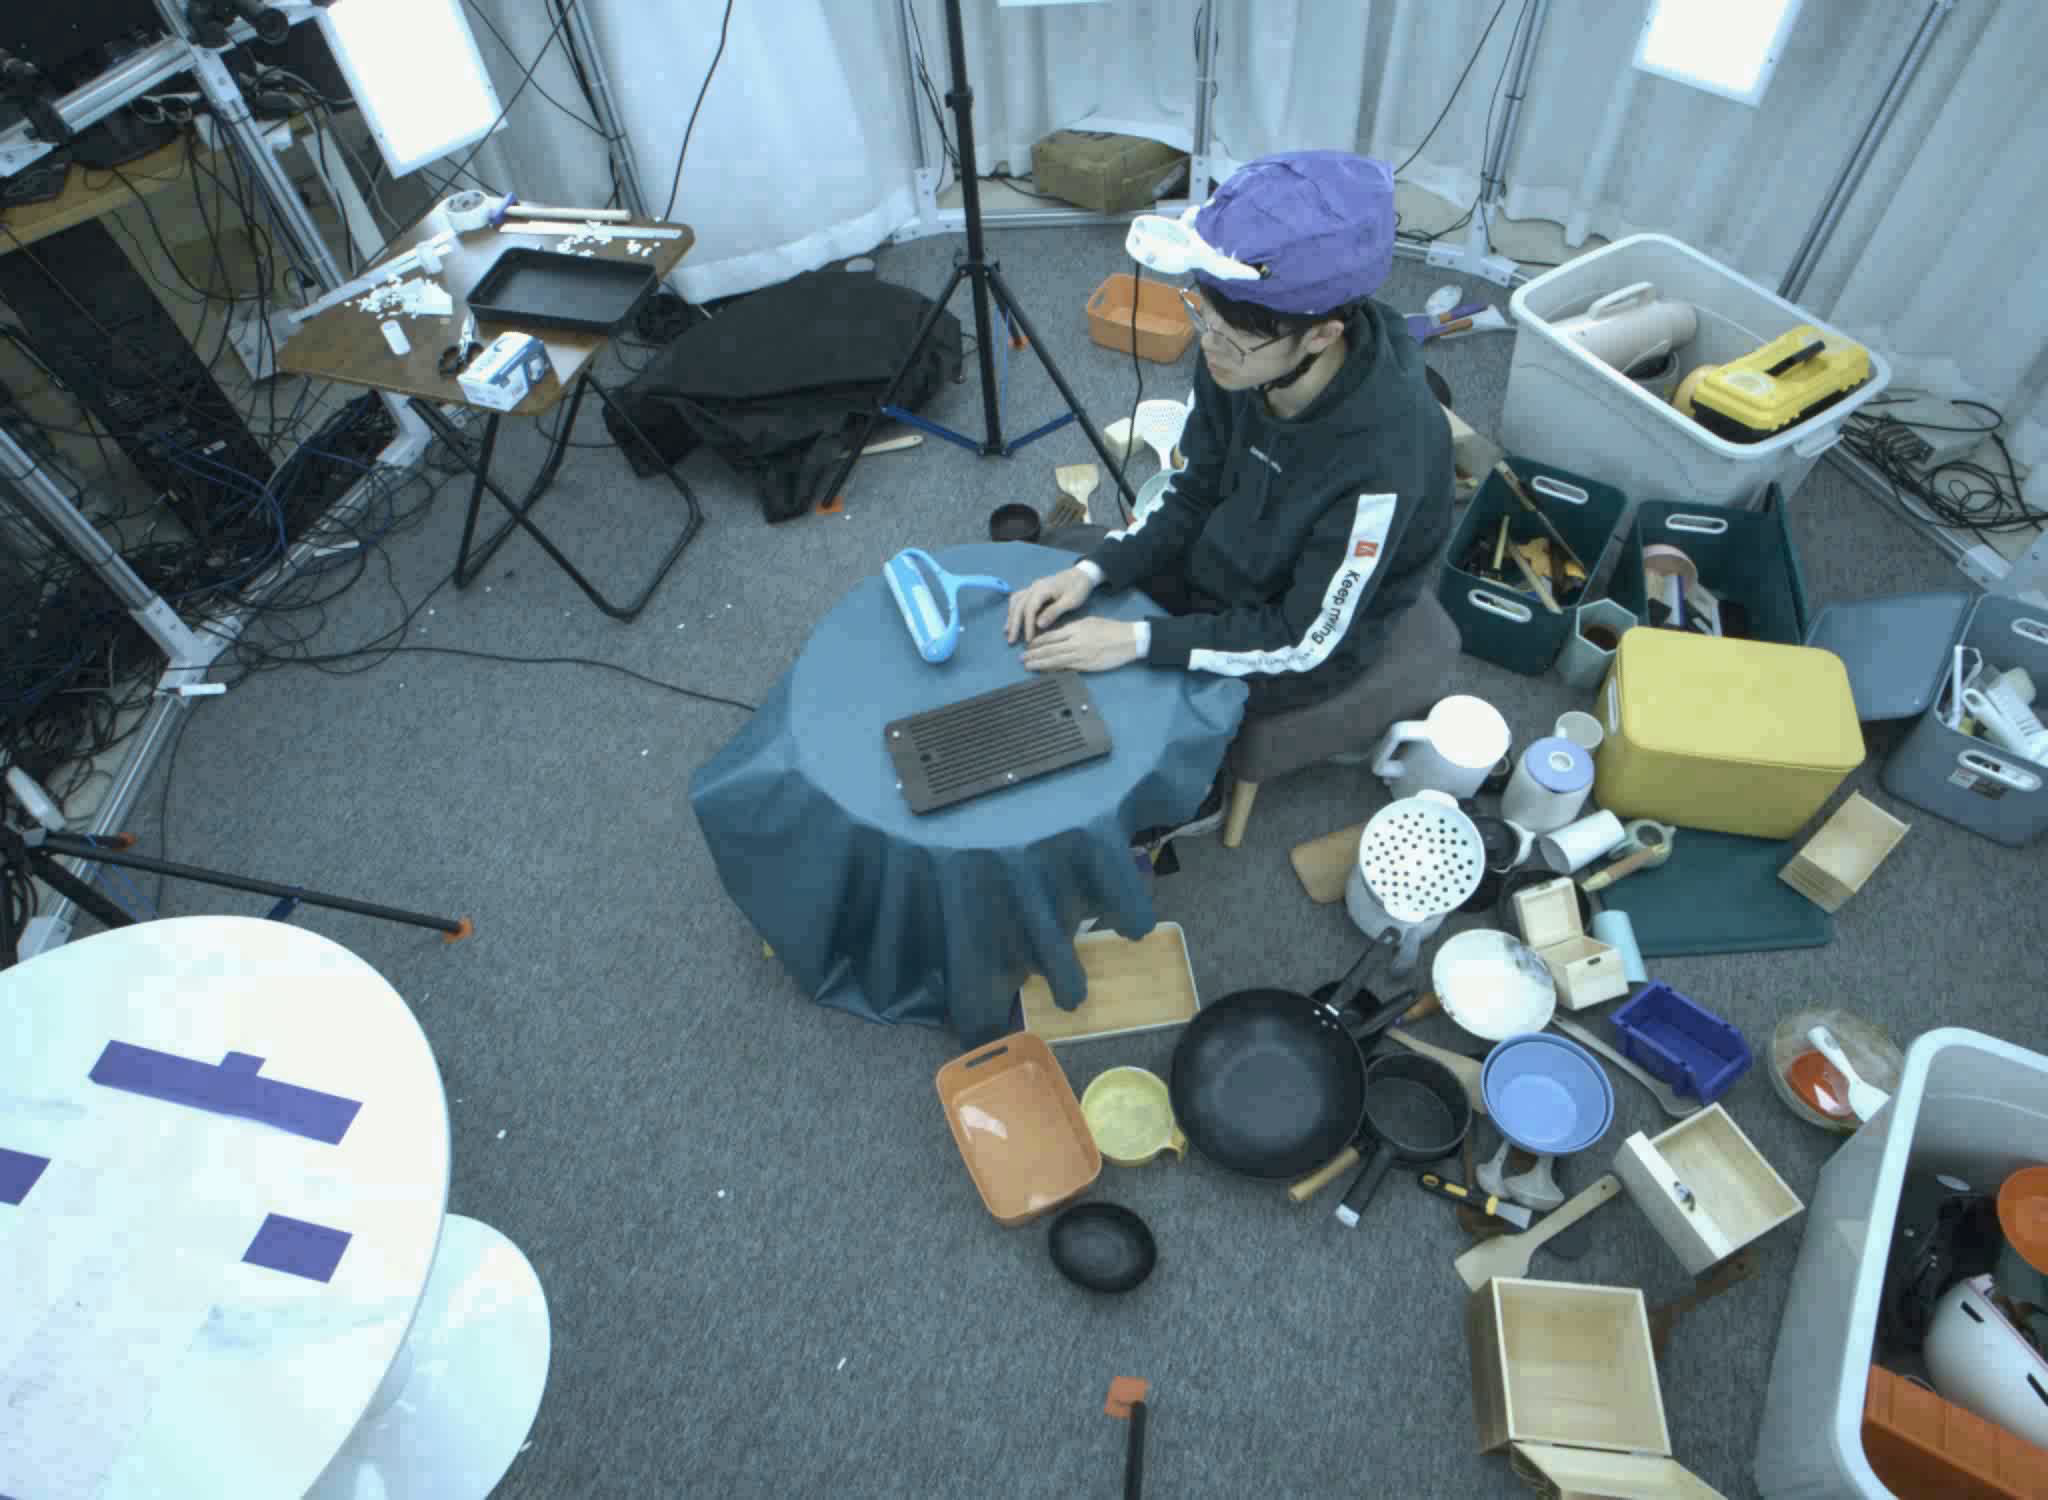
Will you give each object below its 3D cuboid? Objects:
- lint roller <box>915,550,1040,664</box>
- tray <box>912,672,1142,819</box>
[{"bbox_3d":[-0.063,-0.242,1.922,0.181,0.069,0.224,-21,54,-10],"label":"lint roller"},{"bbox_3d":[0.003,-0.008,1.778,0.308,0.019,0.167,-16,55,-9],"label":"tray"}]
